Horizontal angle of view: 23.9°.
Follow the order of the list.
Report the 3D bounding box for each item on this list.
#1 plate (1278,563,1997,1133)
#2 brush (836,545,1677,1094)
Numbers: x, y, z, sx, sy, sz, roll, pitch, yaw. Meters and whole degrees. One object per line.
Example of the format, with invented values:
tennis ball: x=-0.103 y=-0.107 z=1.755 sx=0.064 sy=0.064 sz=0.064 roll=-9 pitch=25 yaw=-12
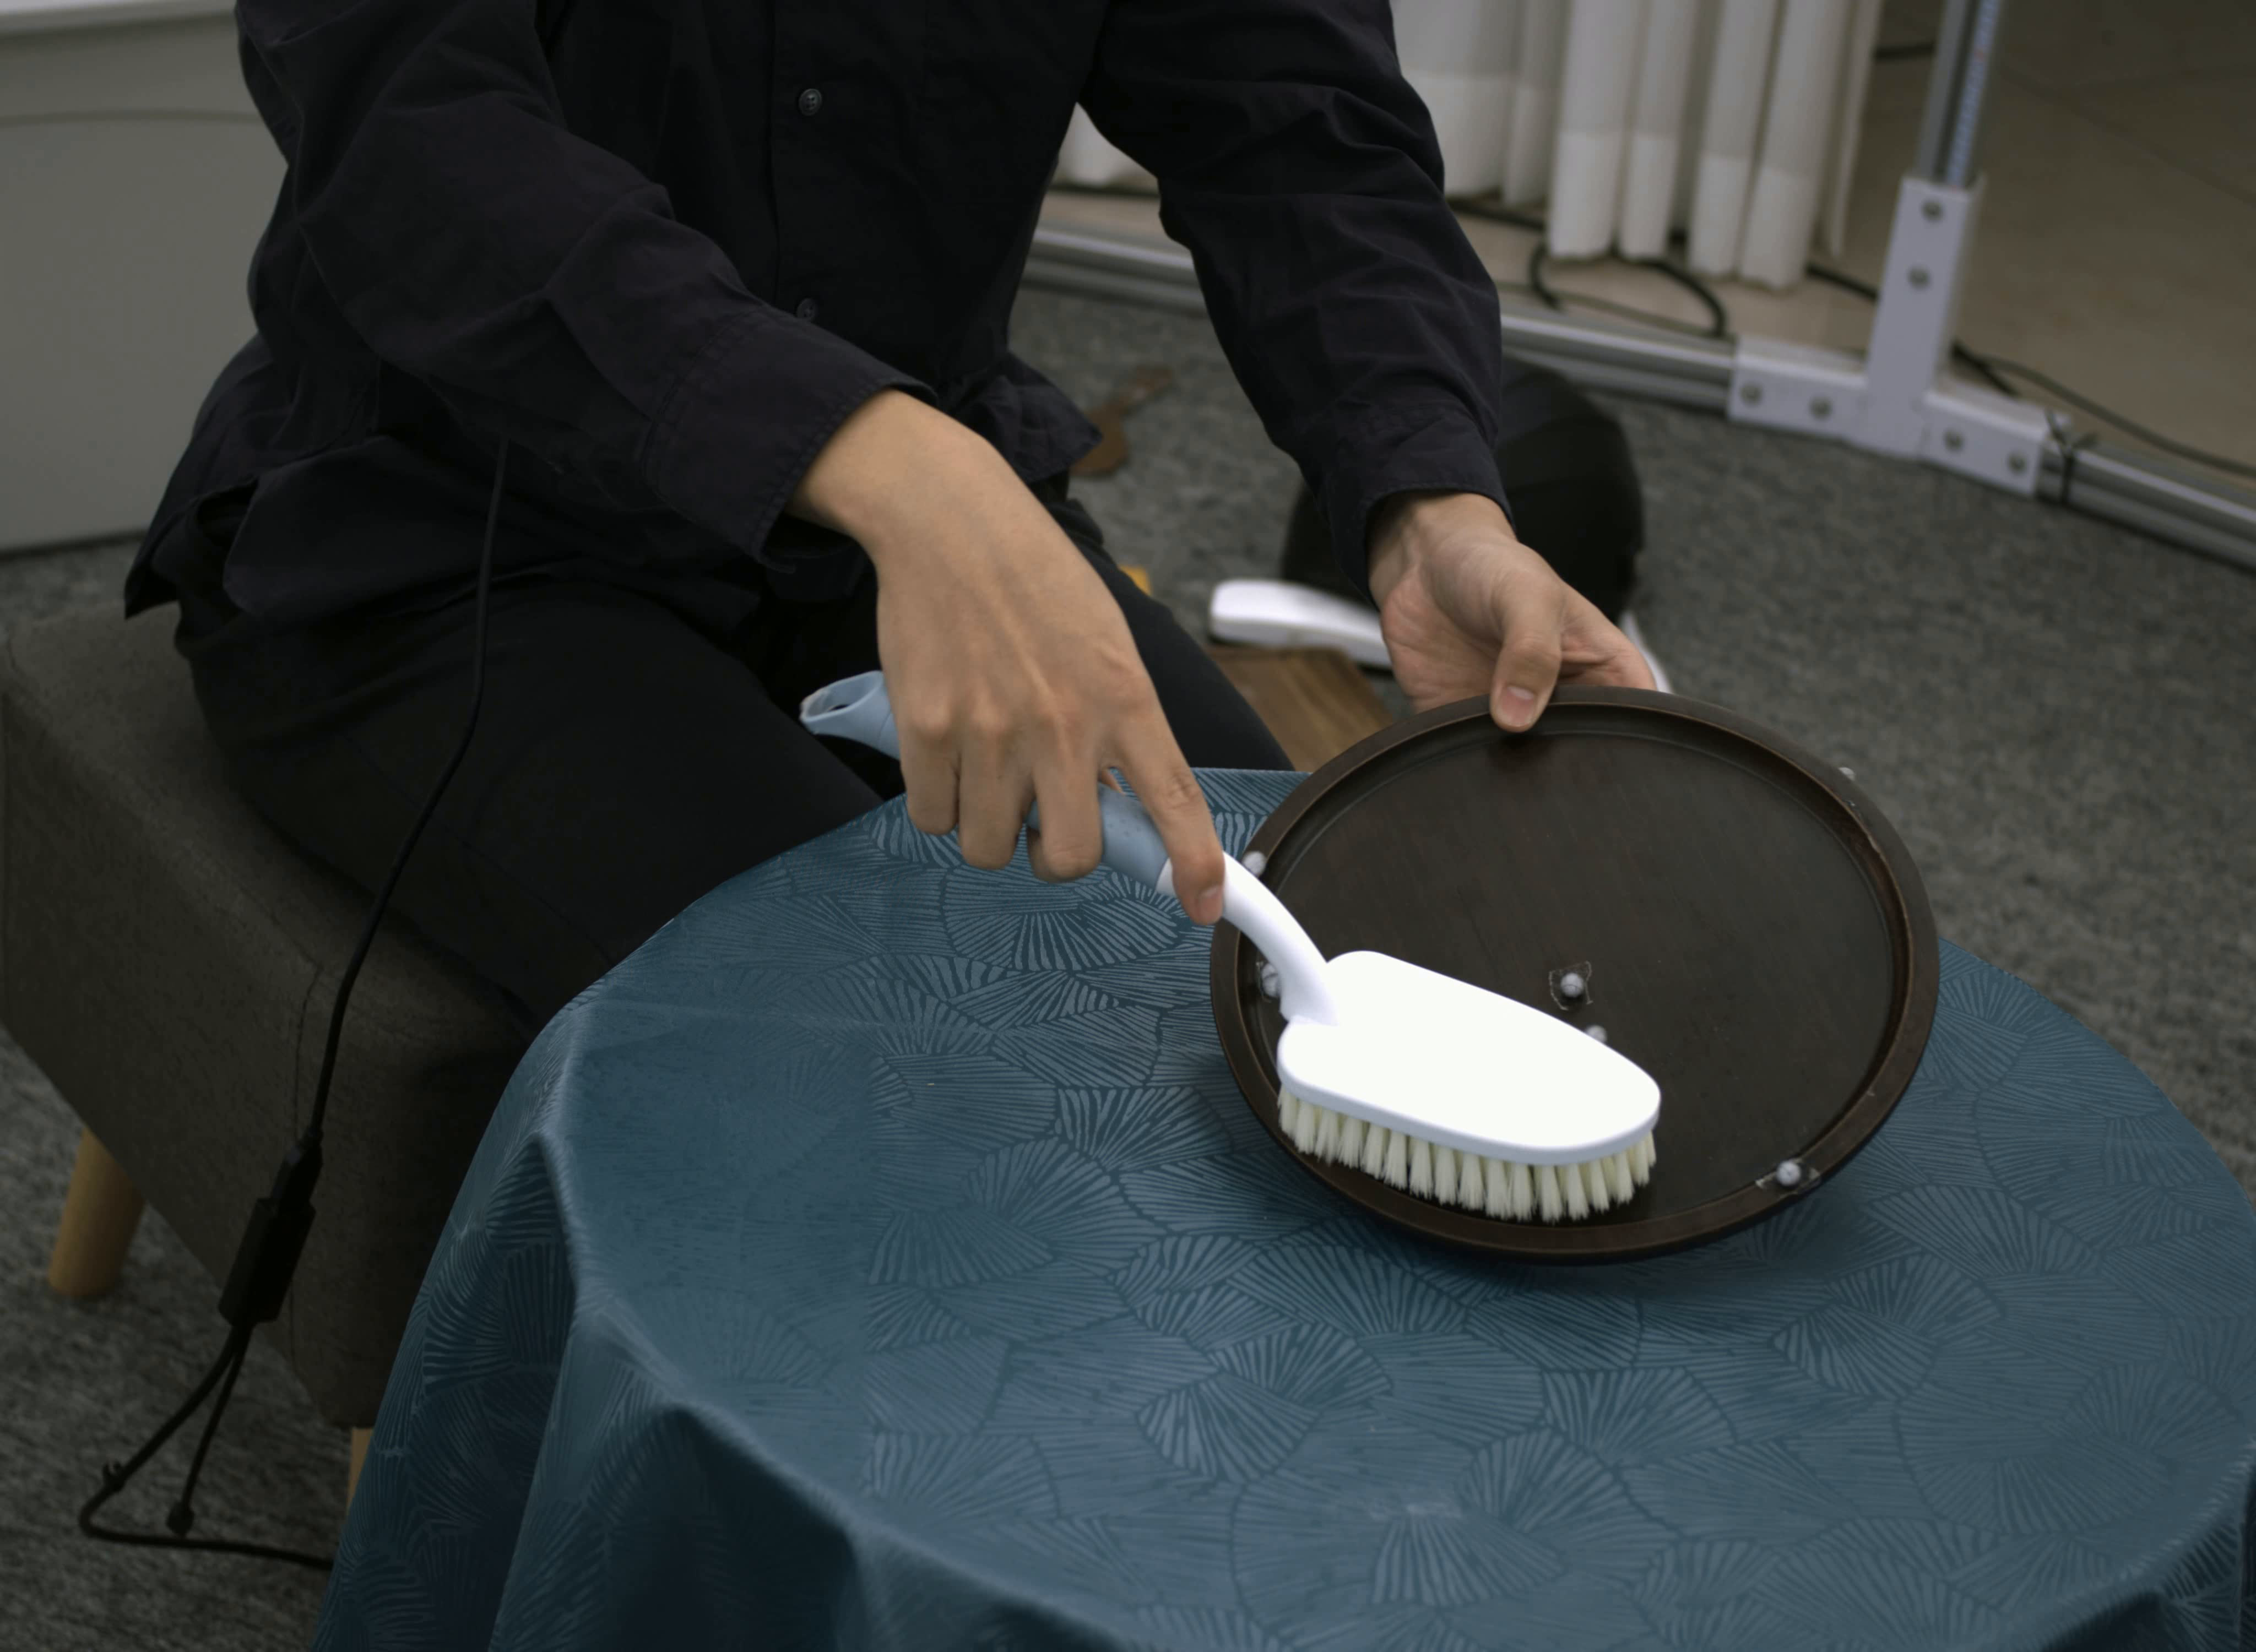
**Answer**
plate: x=0.179 y=0.006 z=1.876 sx=0.254 sy=0.029 sz=0.257 roll=-5 pitch=50 yaw=5
brush: x=0.040 y=0.004 z=1.831 sx=0.326 sy=0.084 sz=0.083 roll=28 pitch=12 yaw=8
